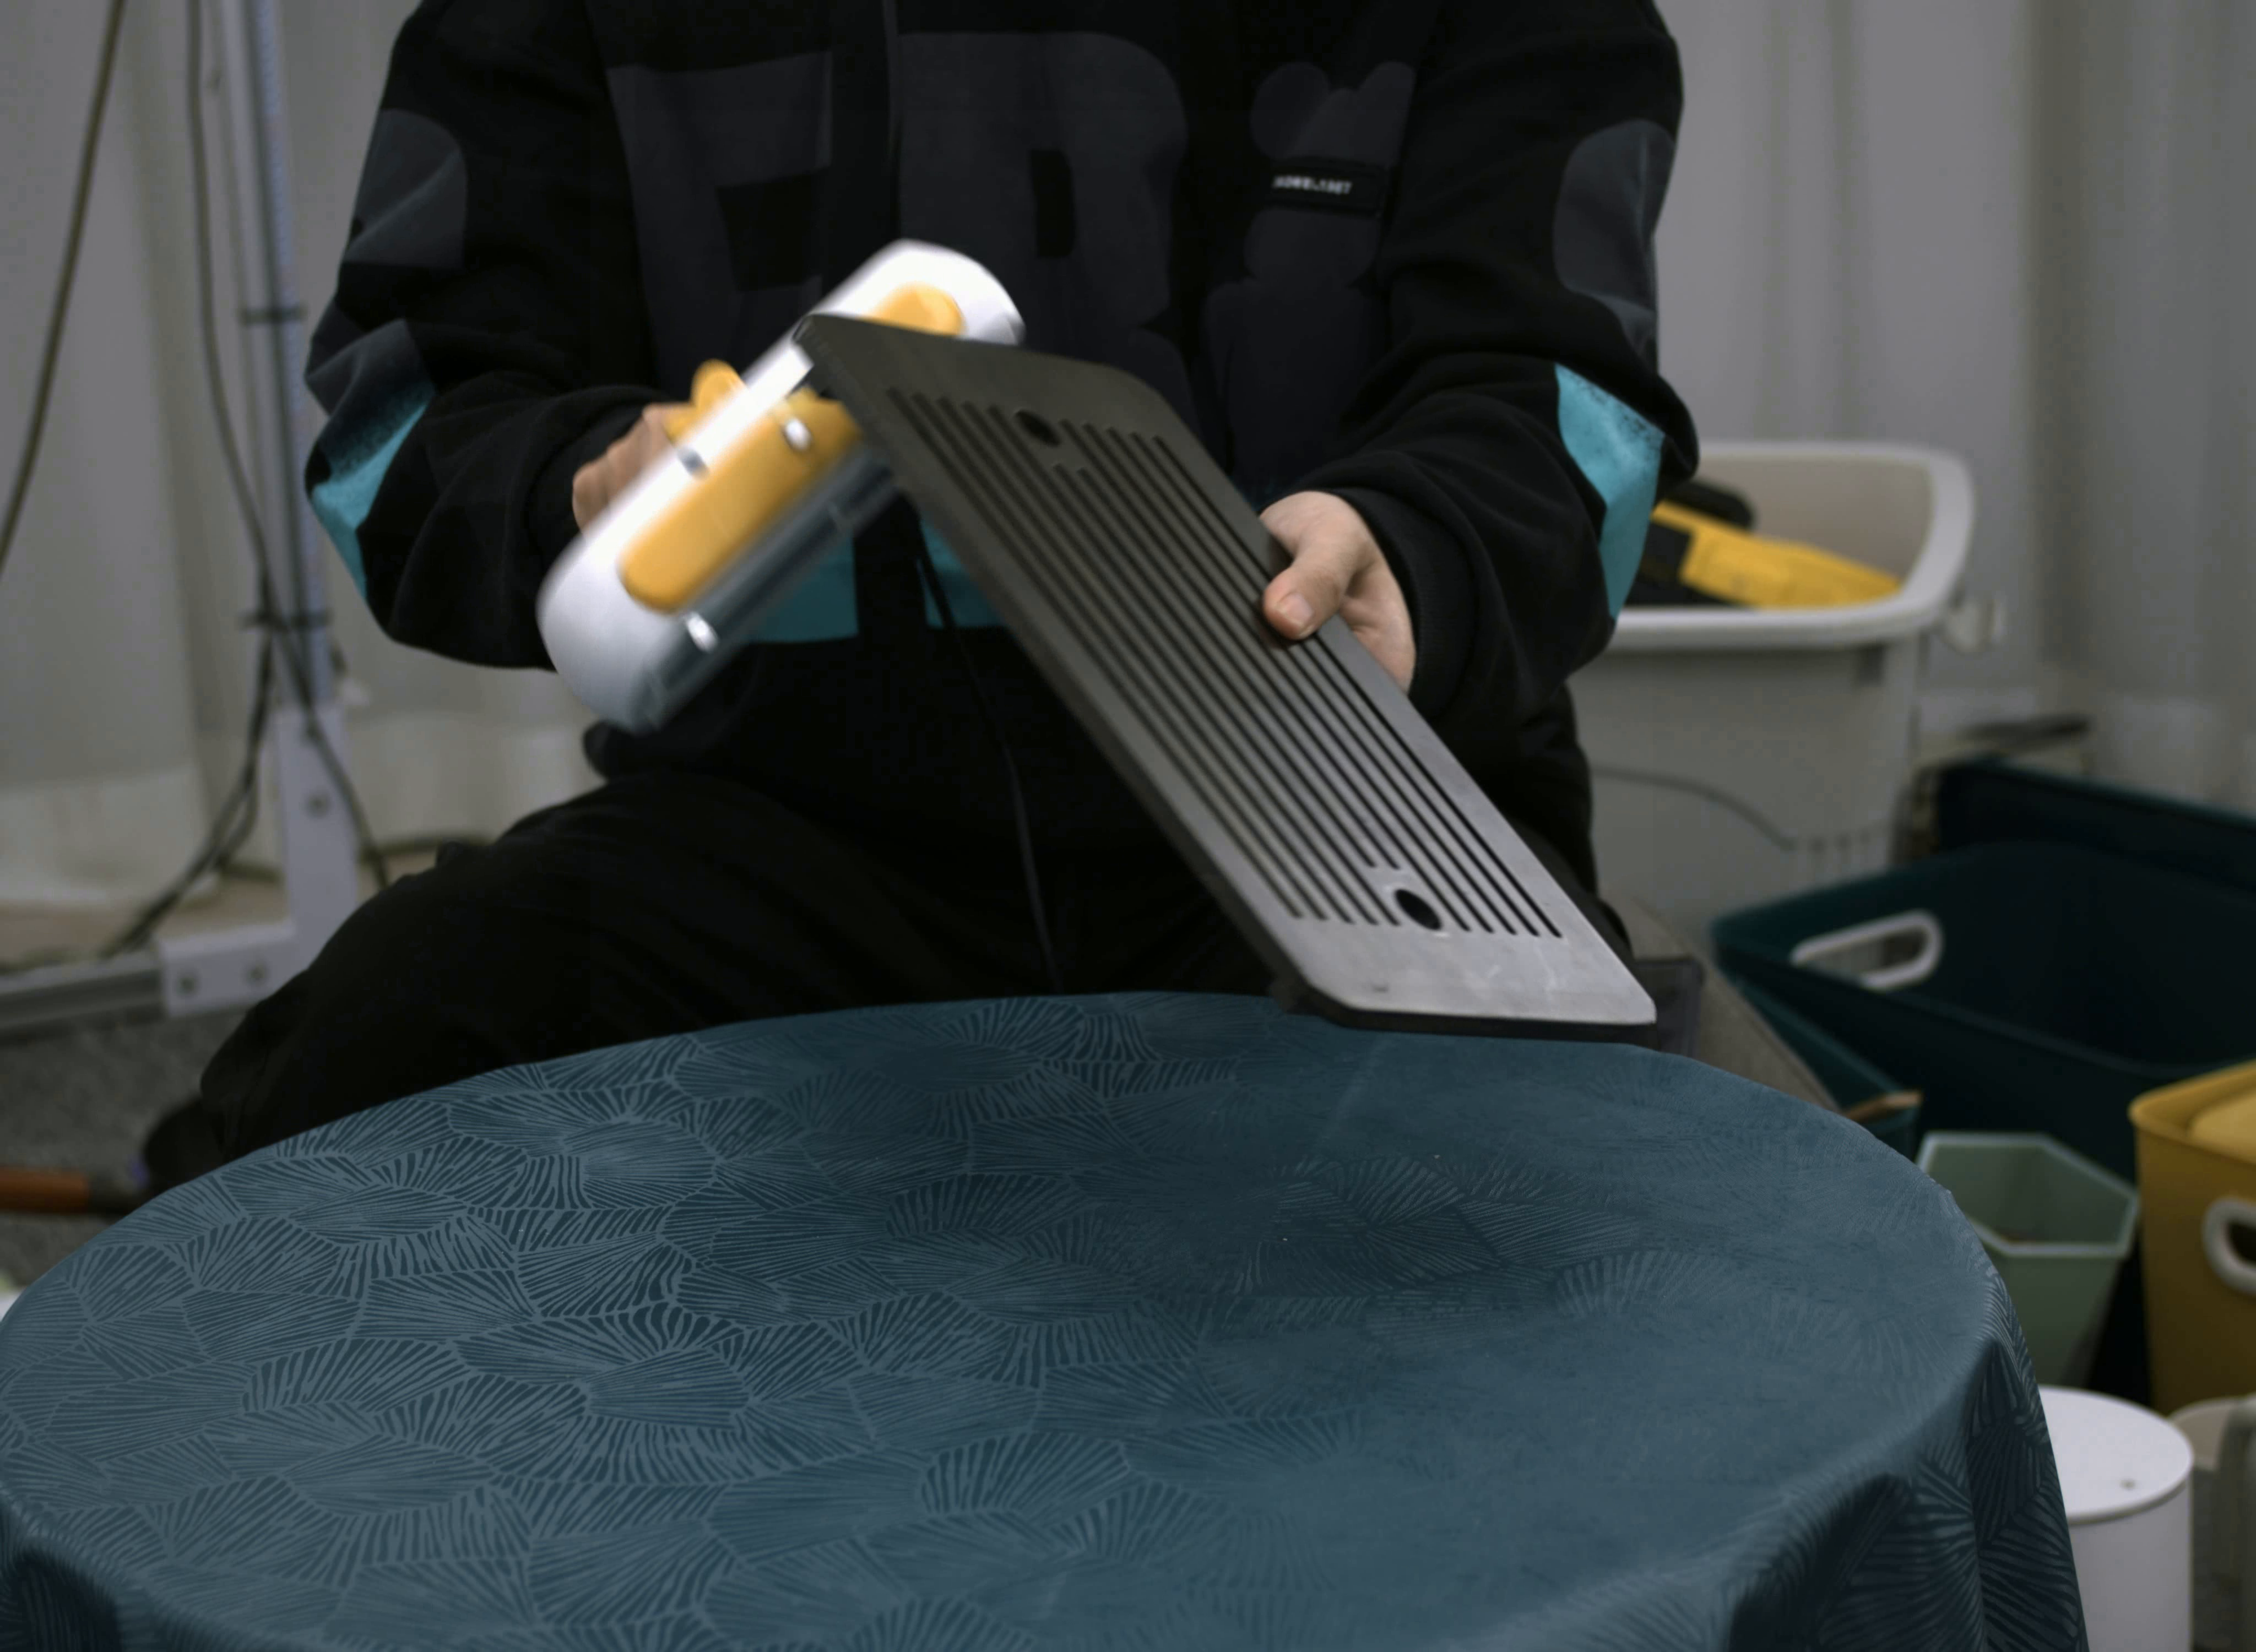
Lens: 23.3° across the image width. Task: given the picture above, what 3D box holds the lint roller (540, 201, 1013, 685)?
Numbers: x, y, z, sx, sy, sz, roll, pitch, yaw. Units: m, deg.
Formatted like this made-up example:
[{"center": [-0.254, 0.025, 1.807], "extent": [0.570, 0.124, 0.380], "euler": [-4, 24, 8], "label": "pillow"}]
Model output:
[{"center": [-0.128, -0.106, 1.802], "extent": [0.194, 0.074, 0.191], "euler": [-50, -5, -24], "label": "lint roller"}]

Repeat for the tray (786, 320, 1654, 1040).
[{"center": [0.024, -0.043, 1.667], "extent": [0.169, 0.018, 0.310], "euler": [5, 38, -48], "label": "tray"}]
